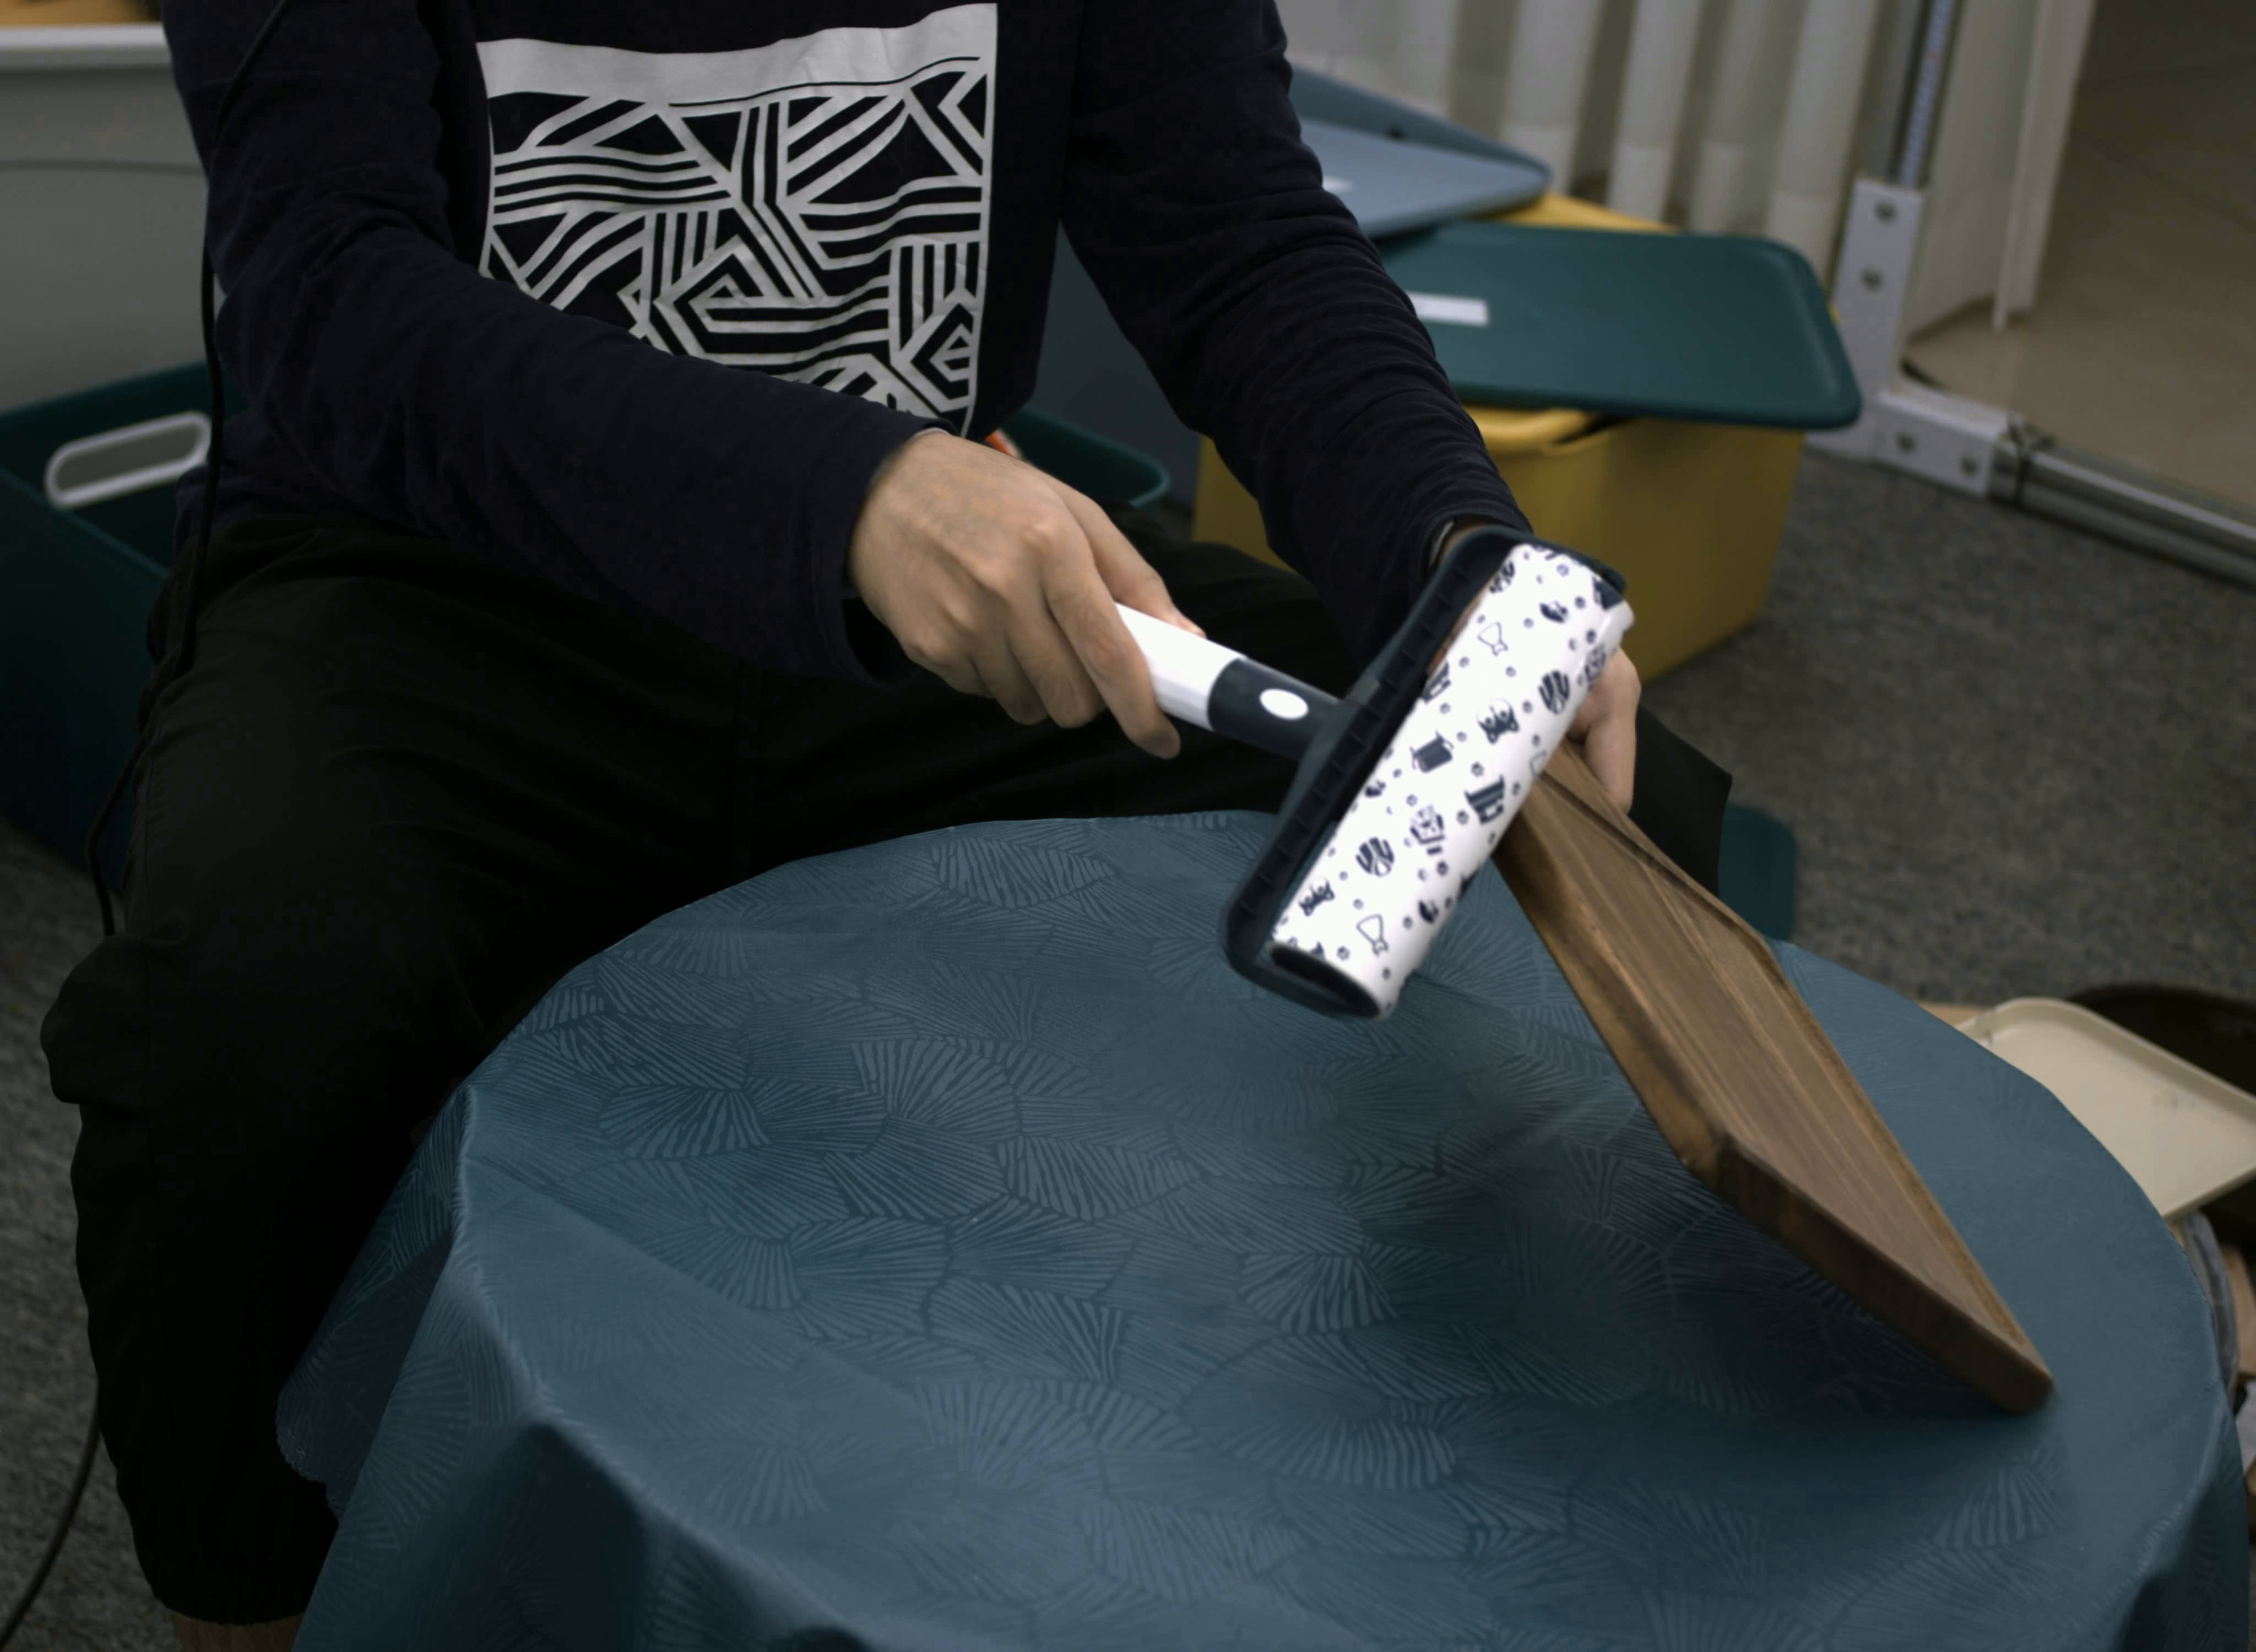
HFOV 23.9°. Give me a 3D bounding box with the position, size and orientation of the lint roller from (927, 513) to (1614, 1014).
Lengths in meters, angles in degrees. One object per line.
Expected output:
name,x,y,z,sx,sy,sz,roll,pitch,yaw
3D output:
lint roller,0.024,-0.049,1.794,0.248,0.050,0.177,21,73,34

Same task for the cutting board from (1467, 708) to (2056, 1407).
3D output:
cutting board,0.182,0.042,1.806,0.199,0.023,0.355,36,16,-39
